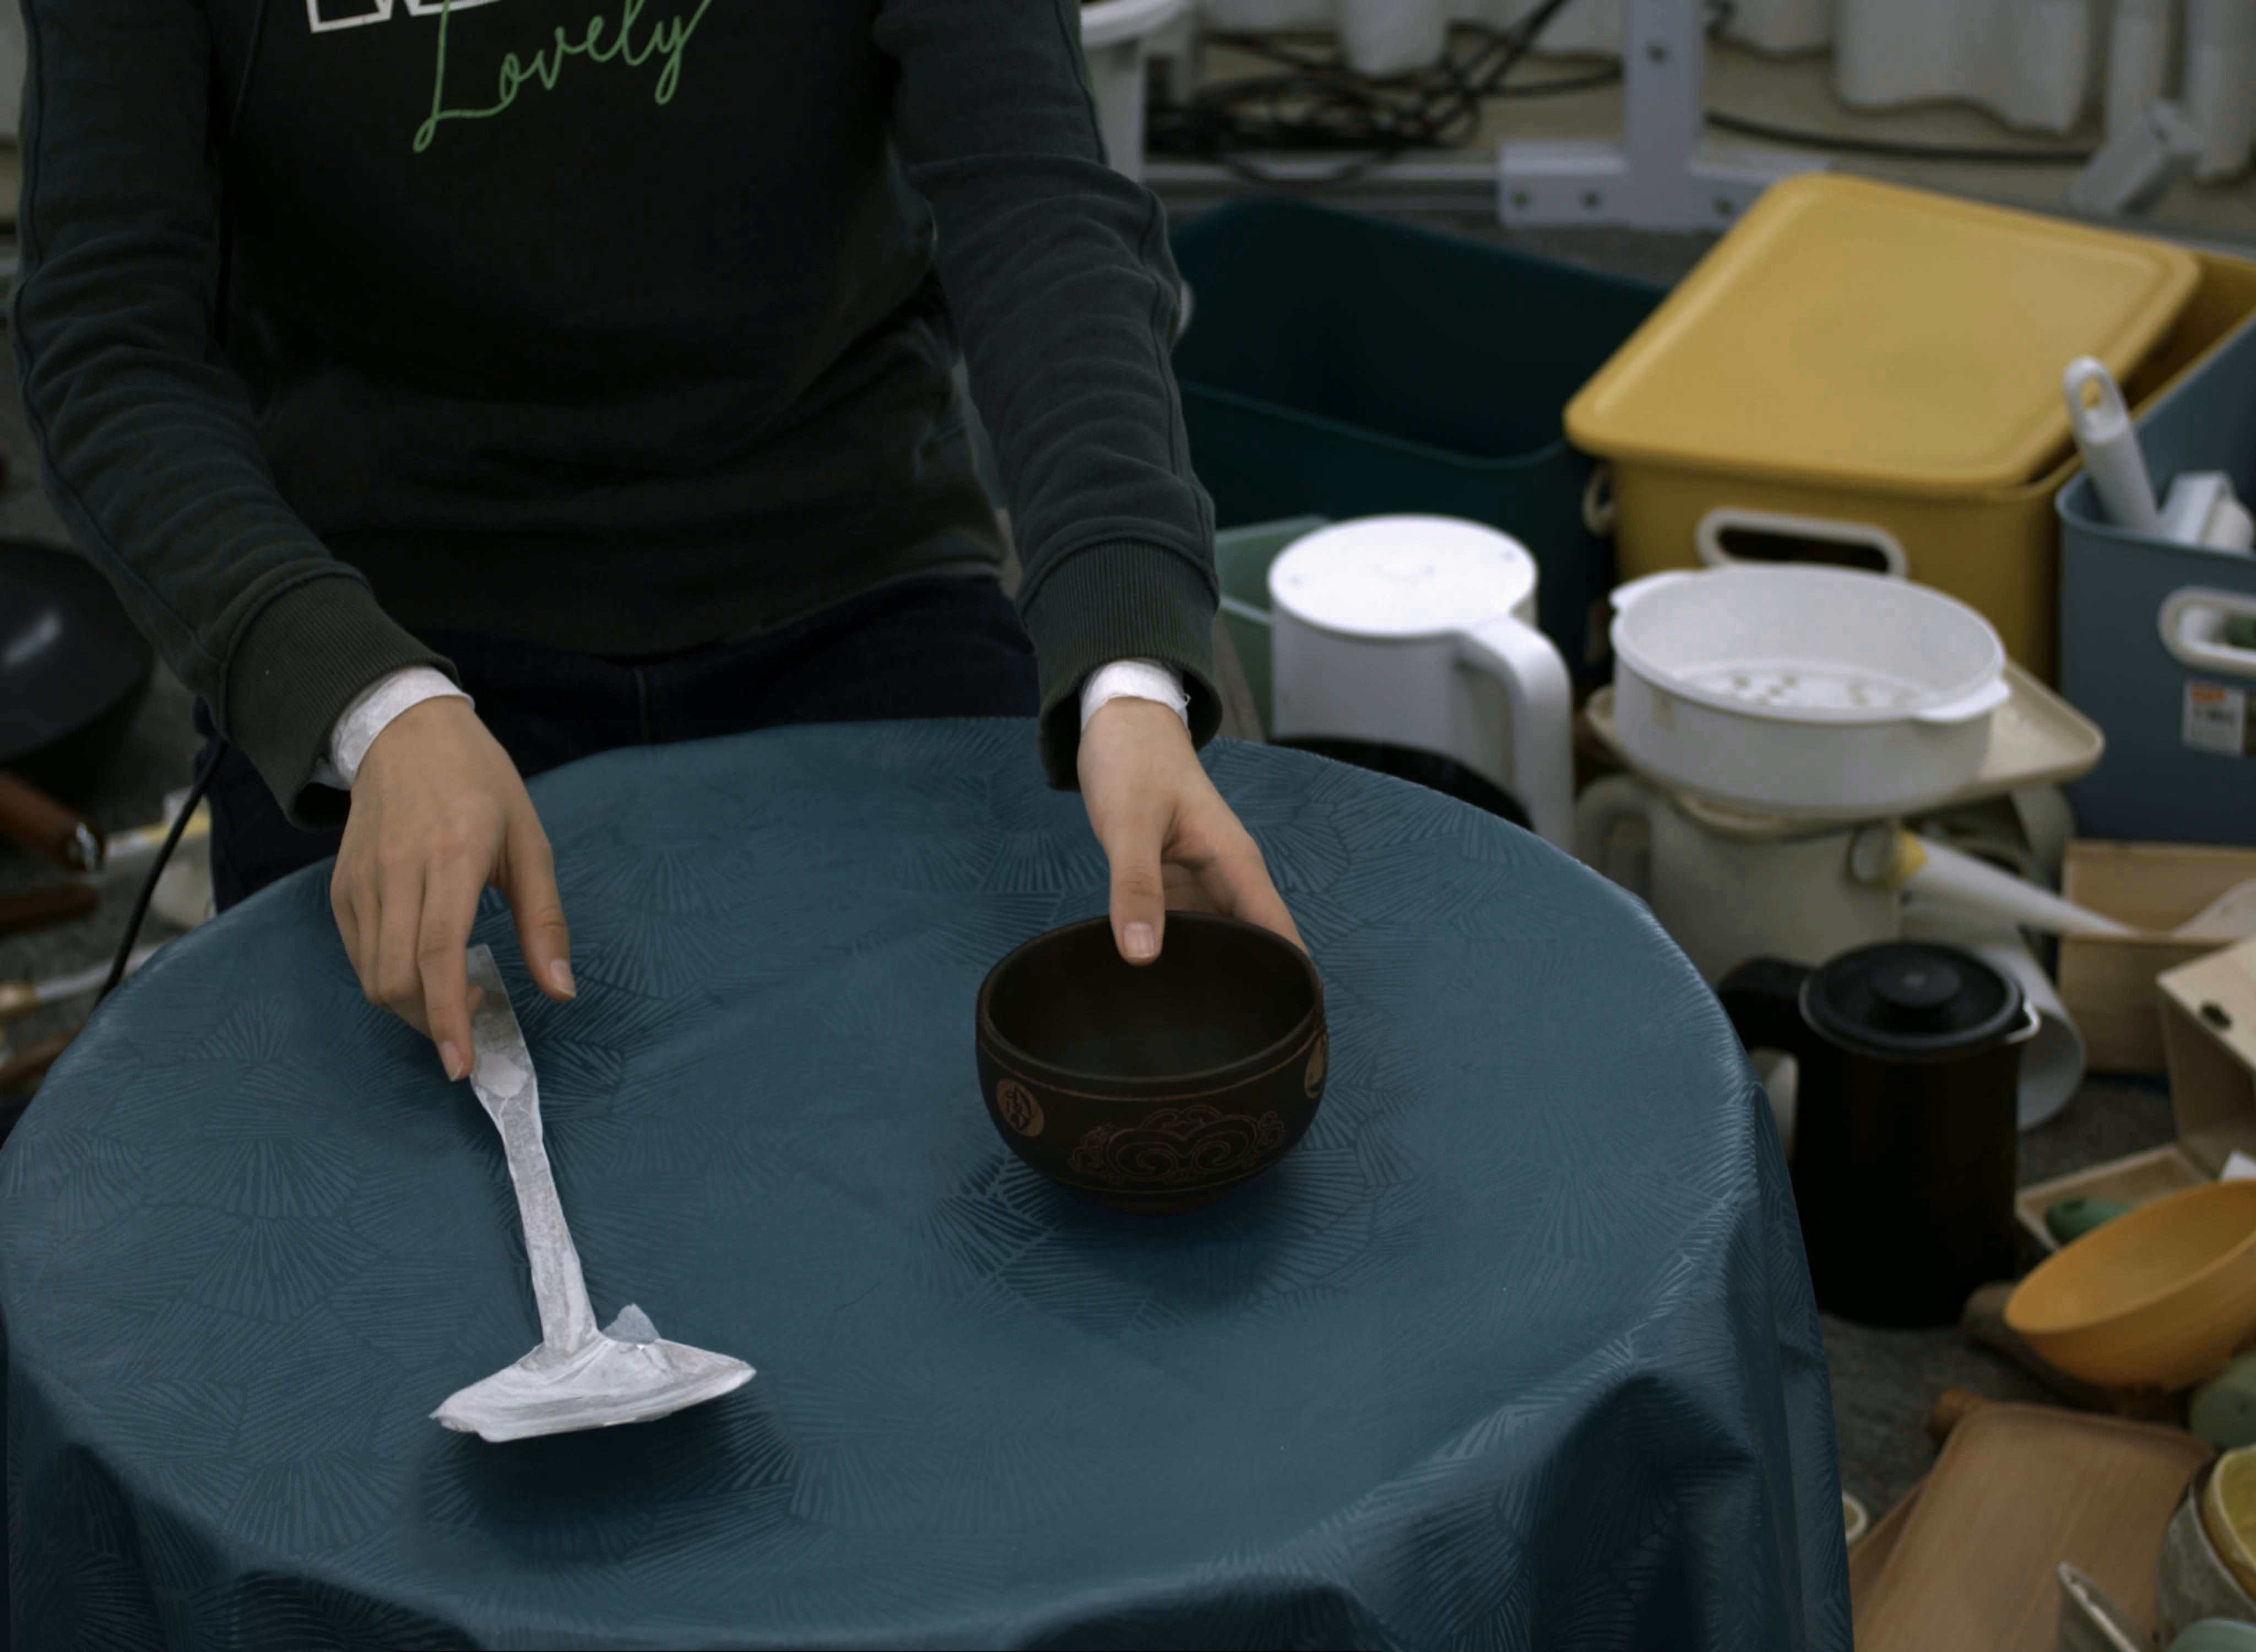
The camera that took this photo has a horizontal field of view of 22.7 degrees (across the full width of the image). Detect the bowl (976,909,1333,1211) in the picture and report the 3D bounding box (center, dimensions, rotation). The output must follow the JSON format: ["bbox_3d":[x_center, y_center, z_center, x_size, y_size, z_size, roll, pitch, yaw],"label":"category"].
[{"bbox_3d":[0.009,0.084,1.857,0.117,0.069,0.120,-1,25,1],"label":"bowl"}]

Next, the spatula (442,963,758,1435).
[{"bbox_3d":[-0.192,0.115,1.852,0.098,0.044,0.369,-10,28,-9],"label":"spatula"}]
